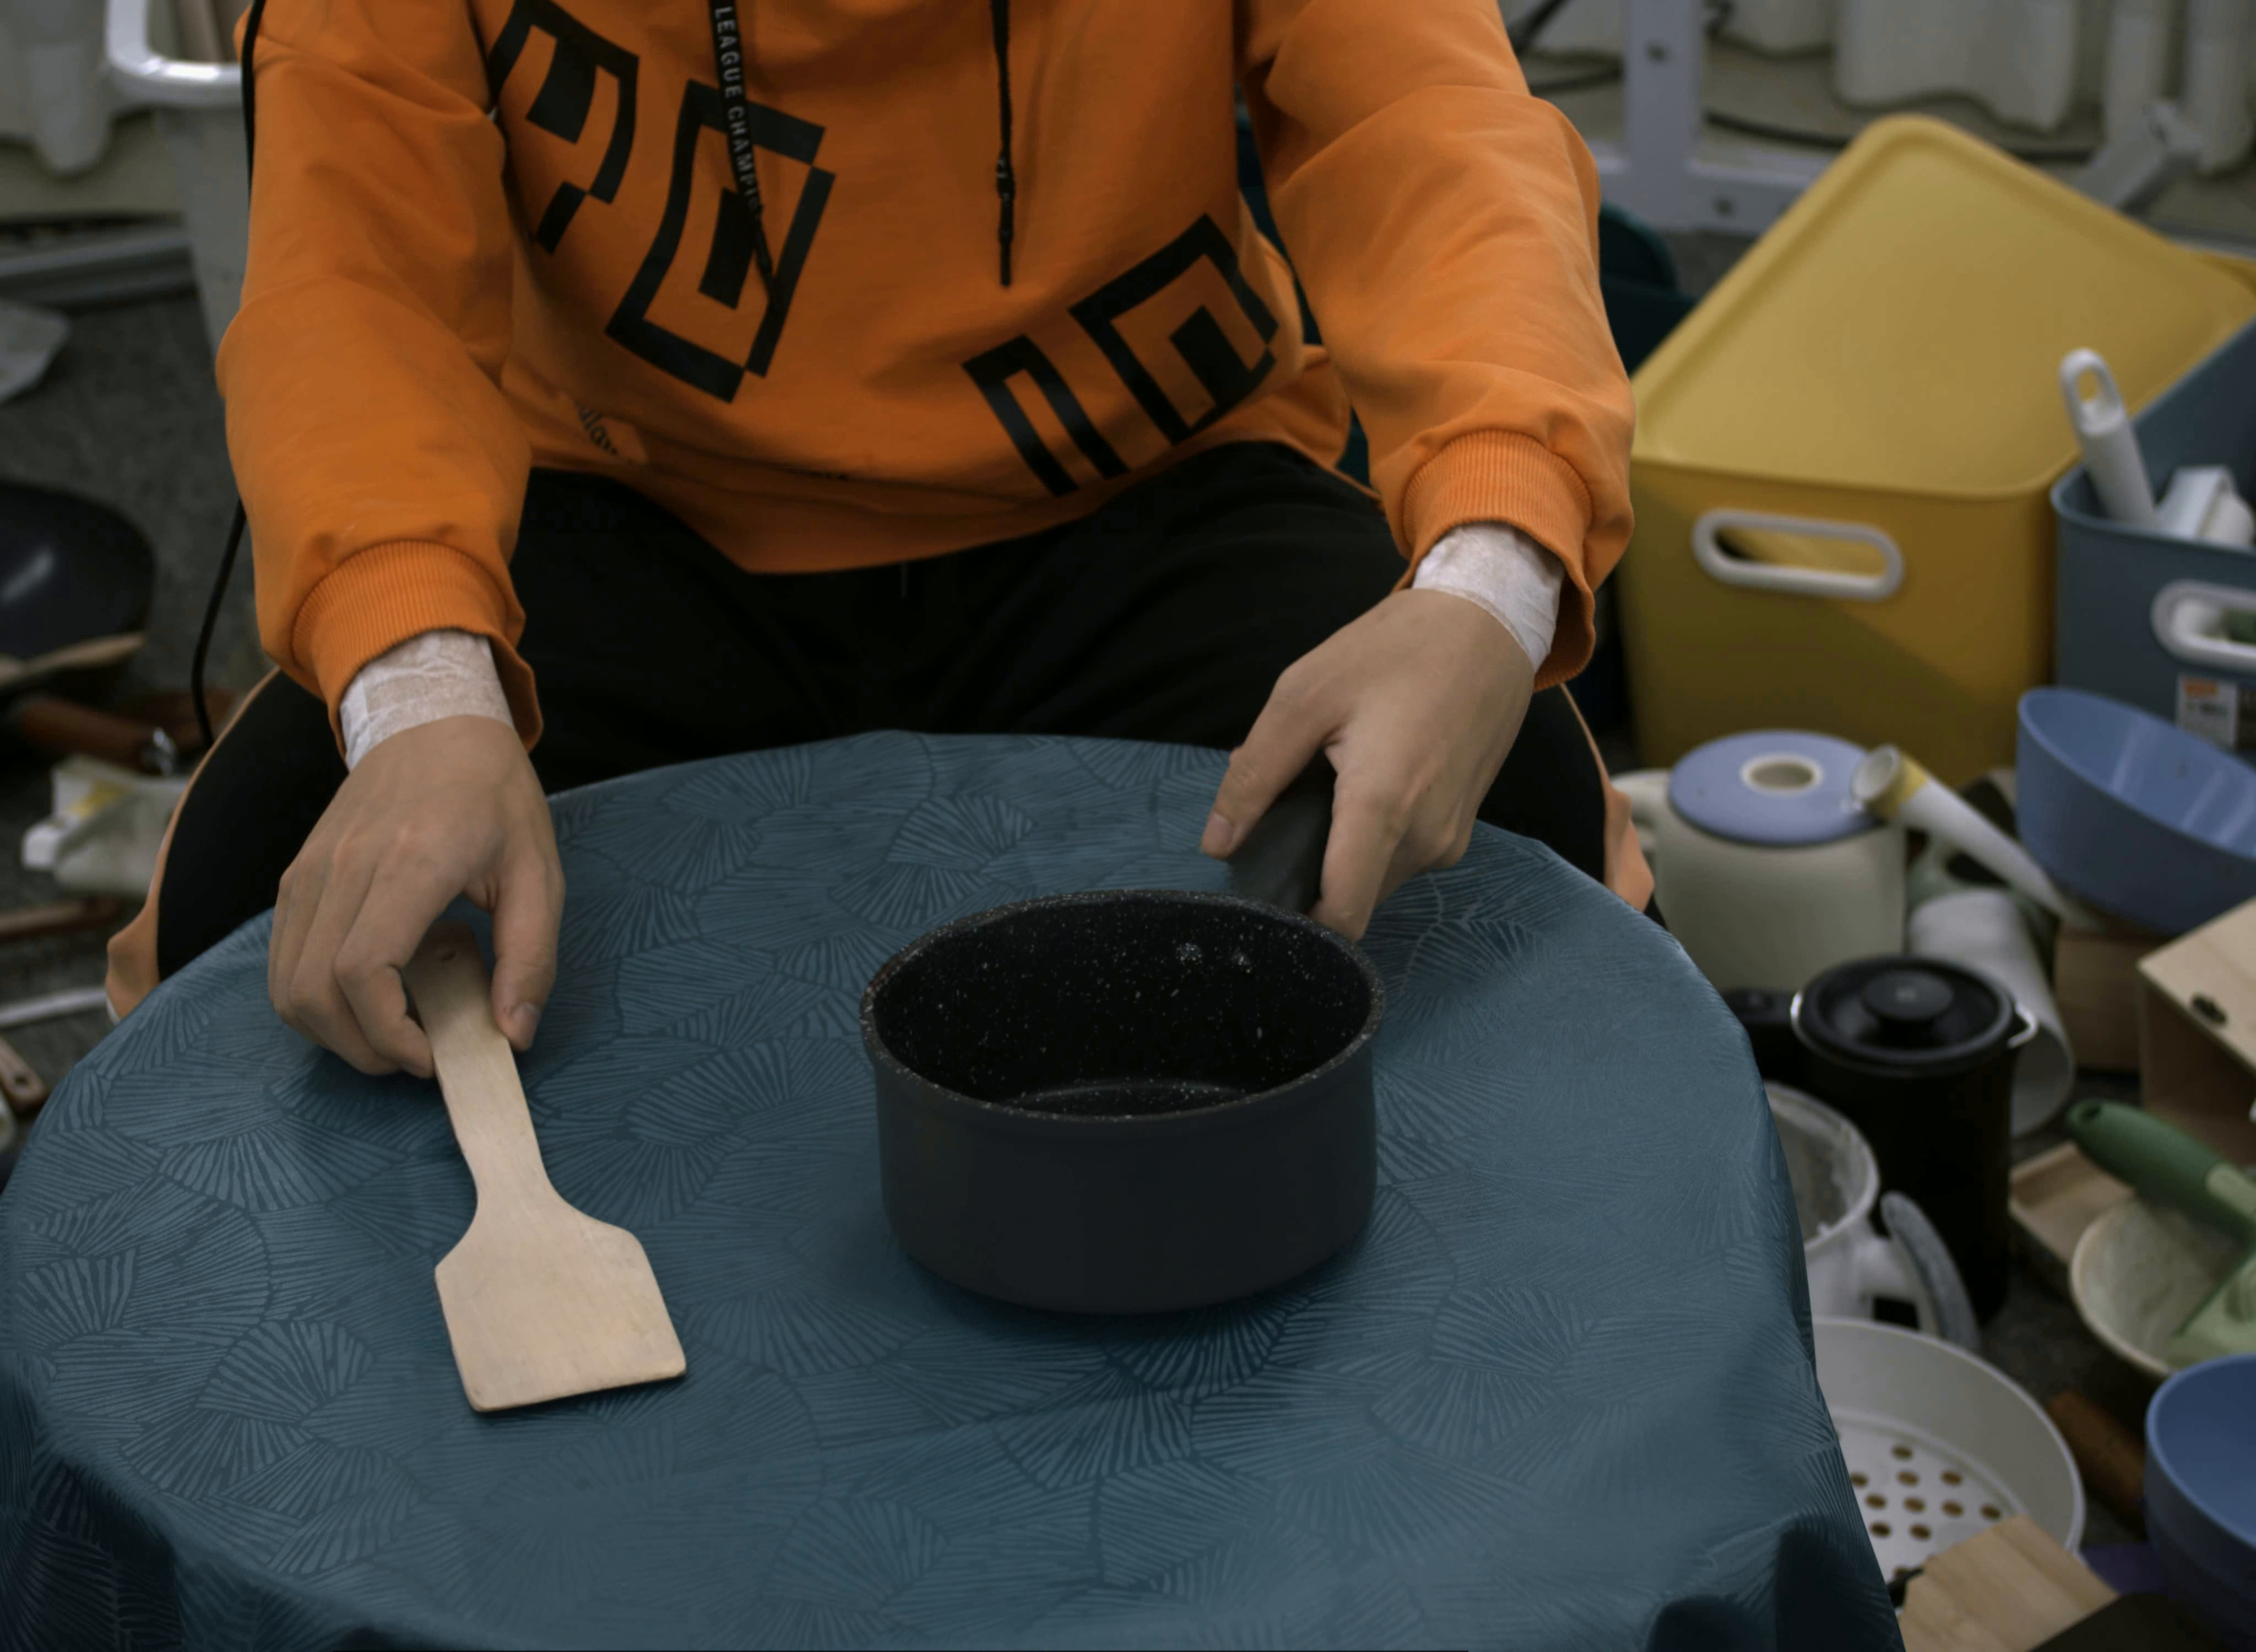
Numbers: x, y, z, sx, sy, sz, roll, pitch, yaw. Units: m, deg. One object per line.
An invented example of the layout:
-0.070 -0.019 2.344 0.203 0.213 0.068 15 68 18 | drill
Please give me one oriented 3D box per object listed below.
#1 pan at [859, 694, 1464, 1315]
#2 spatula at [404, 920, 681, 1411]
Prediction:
0.033 0.056 1.897 0.171 0.085 0.334 10 28 24 | pan
-0.211 0.109 1.887 0.072 0.010 0.296 -11 32 -10 | spatula
